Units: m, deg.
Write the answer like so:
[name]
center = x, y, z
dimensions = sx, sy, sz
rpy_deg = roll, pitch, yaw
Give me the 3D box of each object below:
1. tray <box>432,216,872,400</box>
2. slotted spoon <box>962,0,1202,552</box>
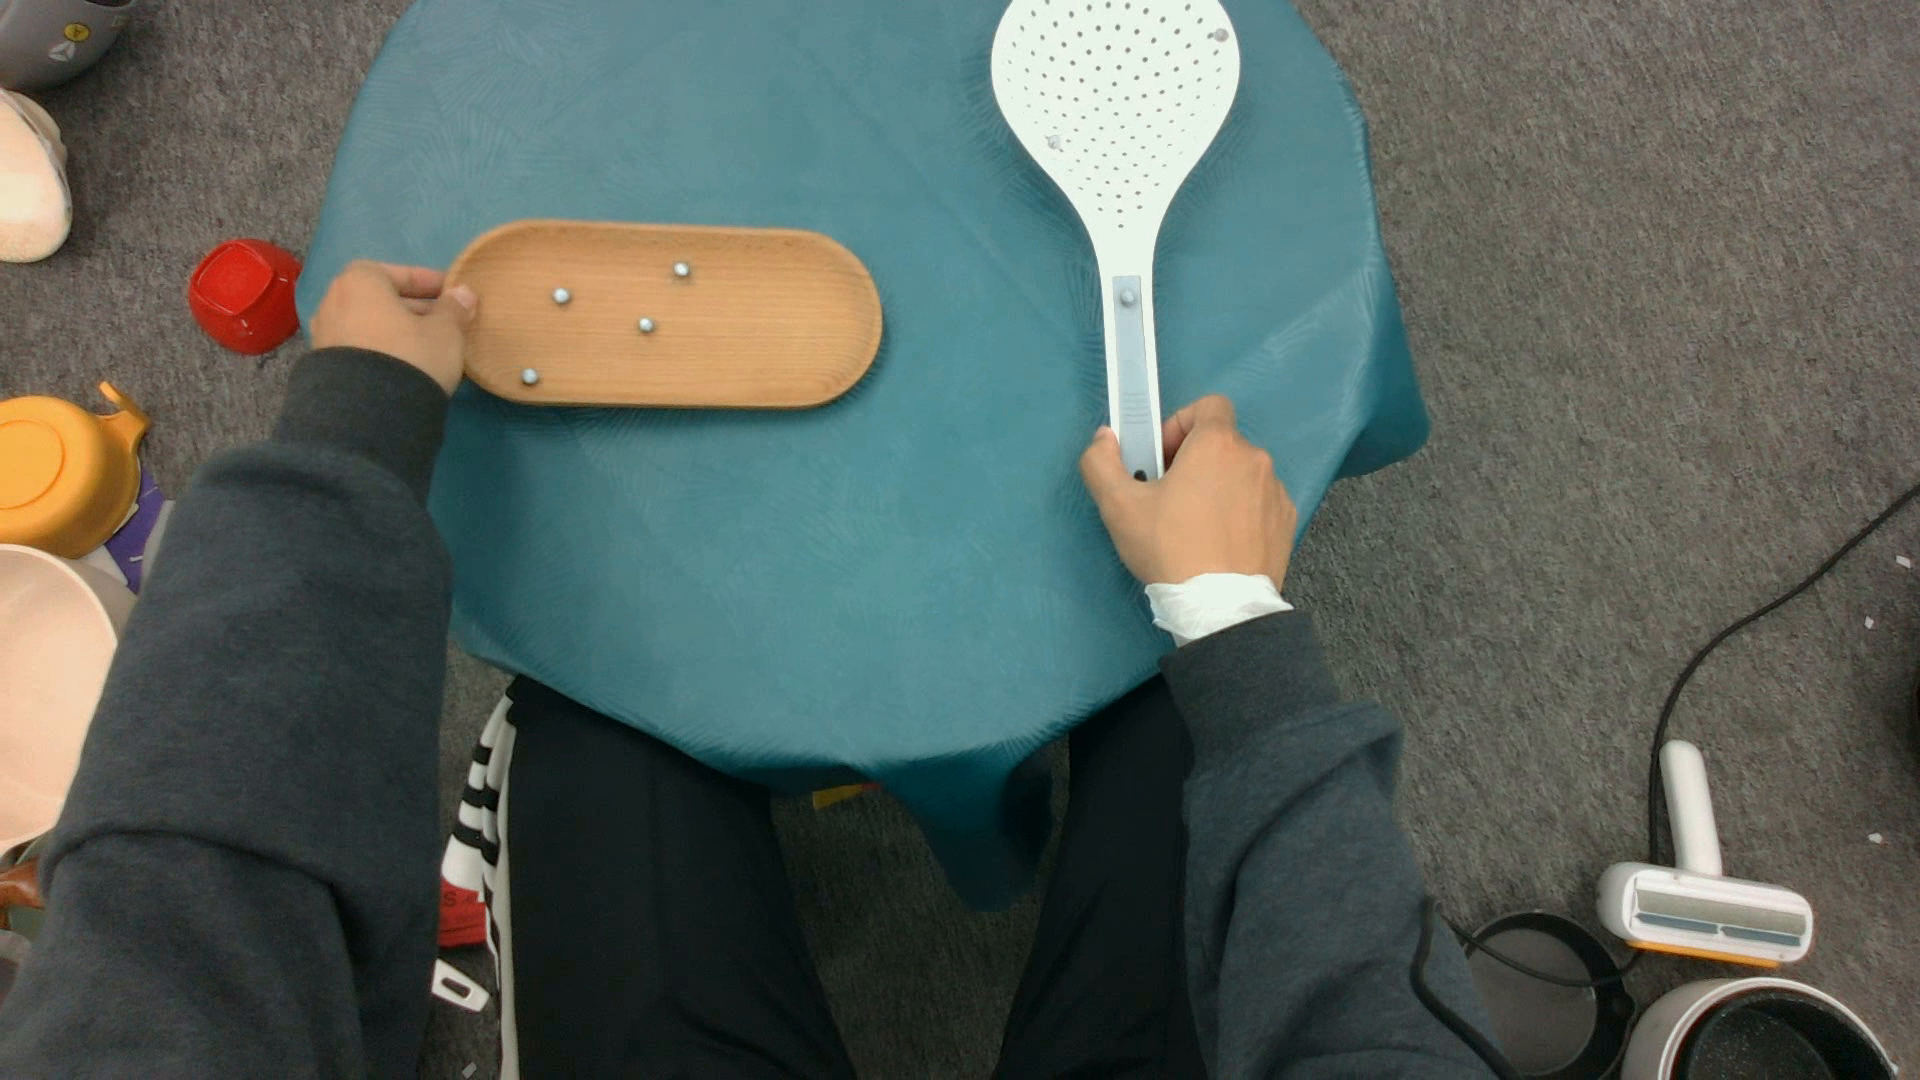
[tray]
center = -0.163, -0.125, 0.744
dimensions = 0.231, 0.020, 0.102
rpy_deg = -2, 80, -9
[slotted spoon]
center = 0.078, -0.164, 0.750
dimensions = 0.136, 0.045, 0.350
rpy_deg = -8, 72, 12
